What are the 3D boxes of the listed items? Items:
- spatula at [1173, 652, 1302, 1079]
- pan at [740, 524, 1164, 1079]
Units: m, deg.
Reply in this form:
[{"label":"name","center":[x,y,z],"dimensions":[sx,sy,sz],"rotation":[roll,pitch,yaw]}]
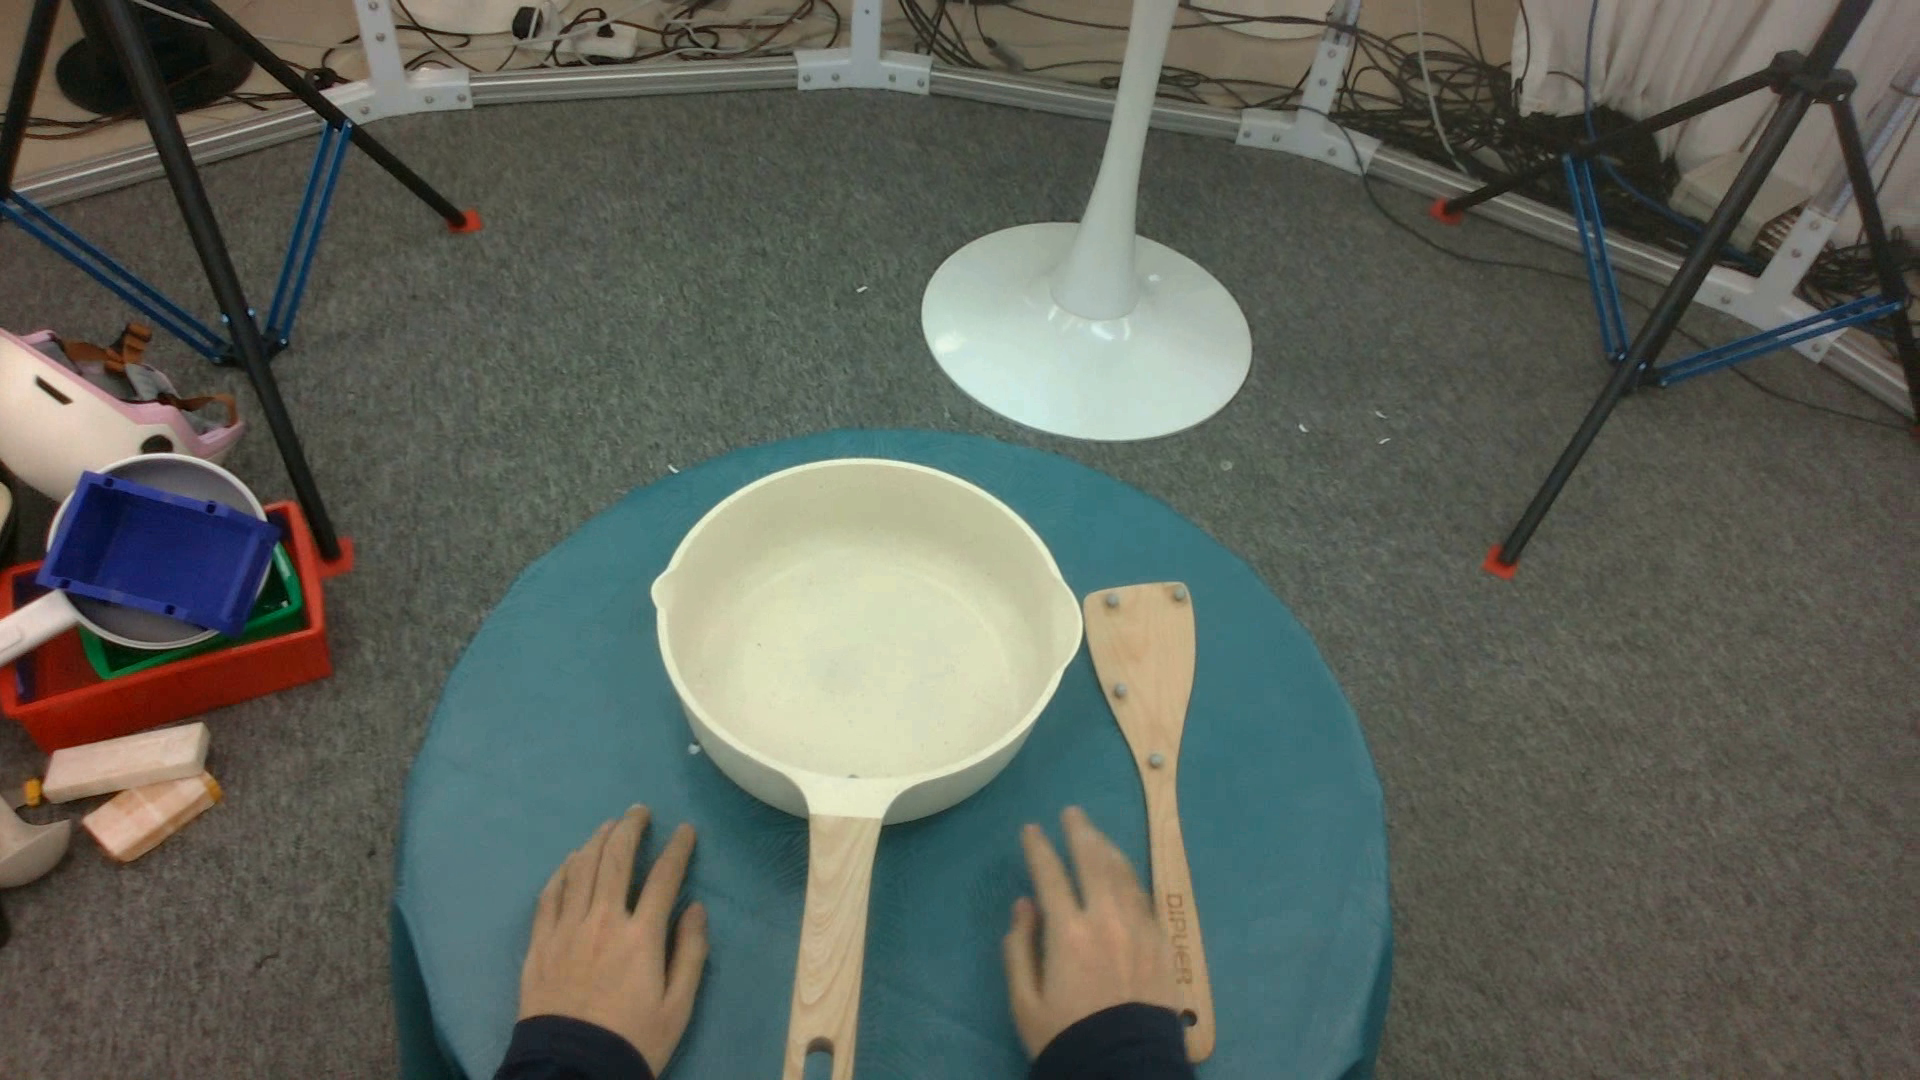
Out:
[{"label":"spatula","center":[0.180,0.200,0.854],"dimensions":[0.080,0.016,0.329],"rotation":[4,46,-1]},{"label":"pan","center":[-0.014,0.170,0.809],"dimensions":[0.263,0.101,0.437],"rotation":[6,46,0]}]
